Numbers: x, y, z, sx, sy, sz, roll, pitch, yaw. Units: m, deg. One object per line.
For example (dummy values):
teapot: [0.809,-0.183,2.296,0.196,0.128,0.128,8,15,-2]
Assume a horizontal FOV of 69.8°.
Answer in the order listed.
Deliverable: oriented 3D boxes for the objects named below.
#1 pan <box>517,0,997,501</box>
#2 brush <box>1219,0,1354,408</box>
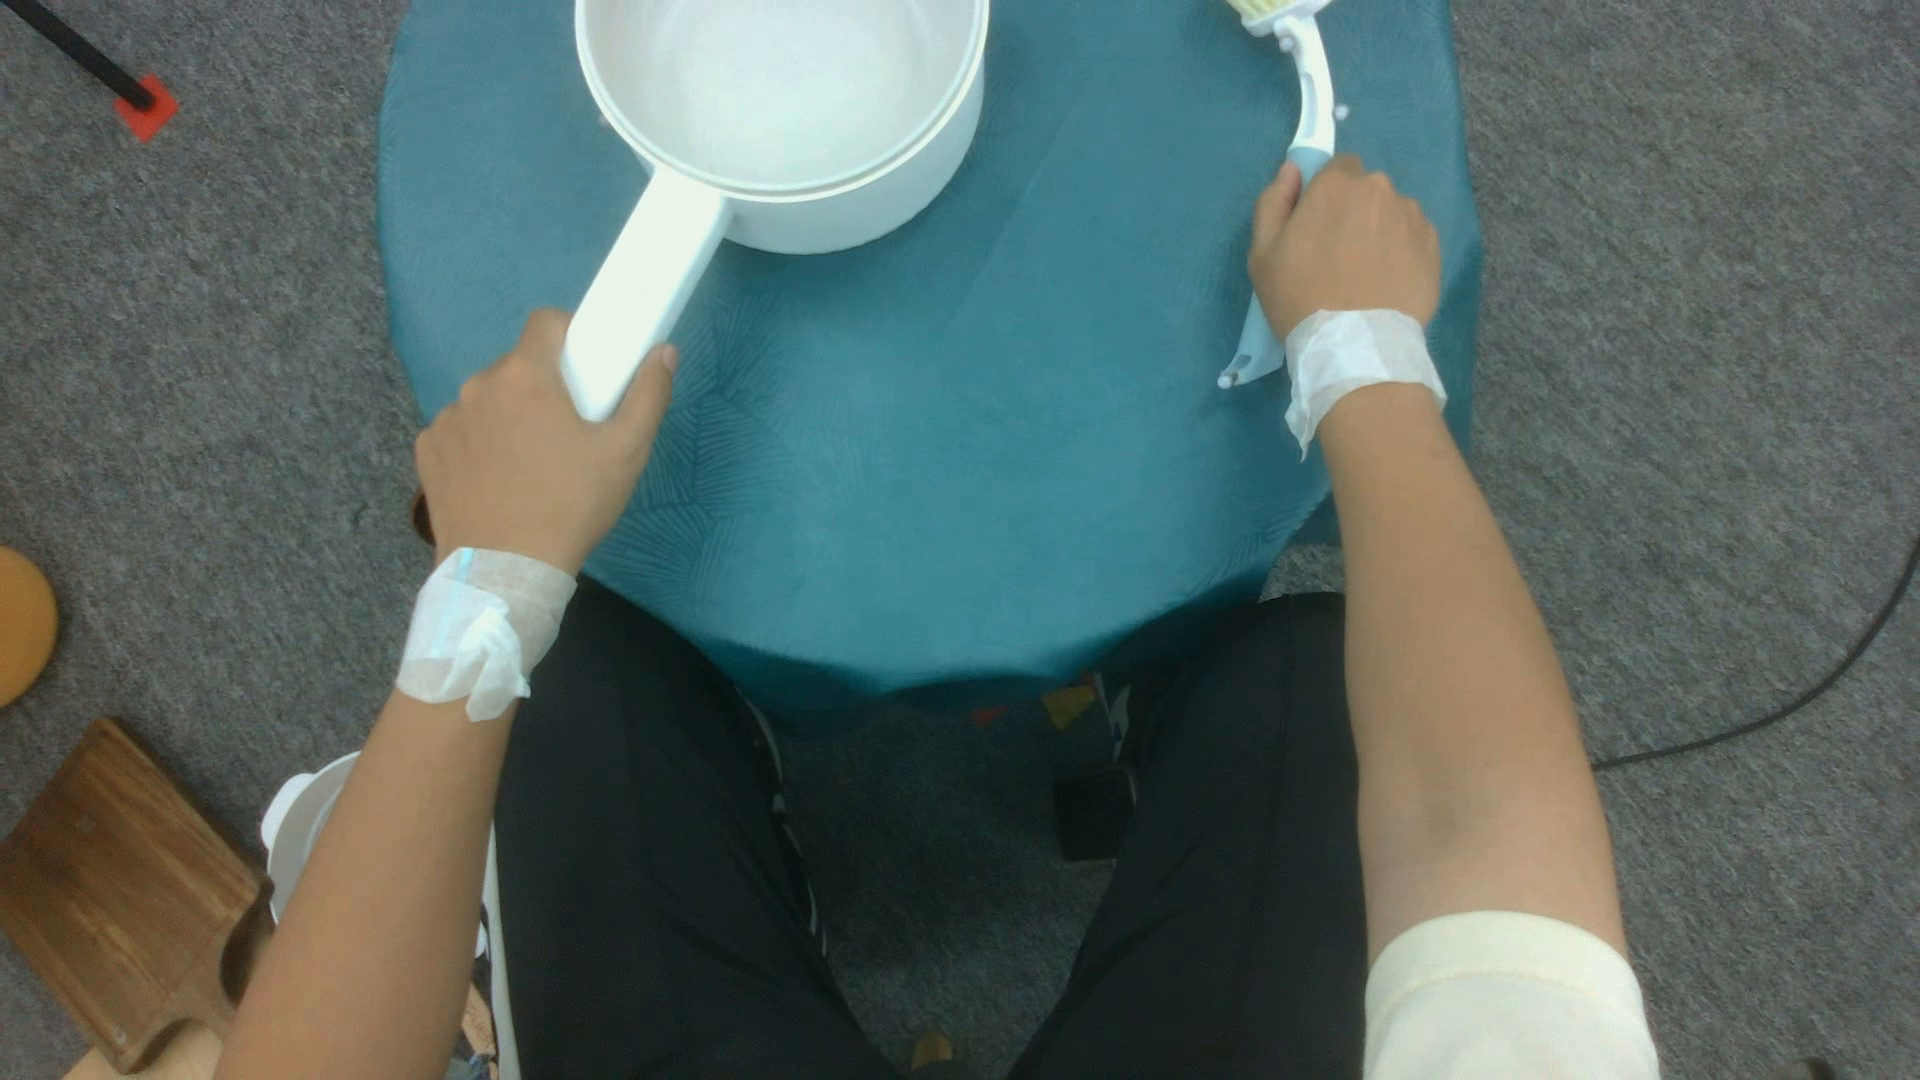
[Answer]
pan: [-0.113,-0.178,0.720,0.201,0.102,0.355,25,81,7]
brush: [0.168,-0.232,0.731,0.084,0.083,0.326,14,80,7]
